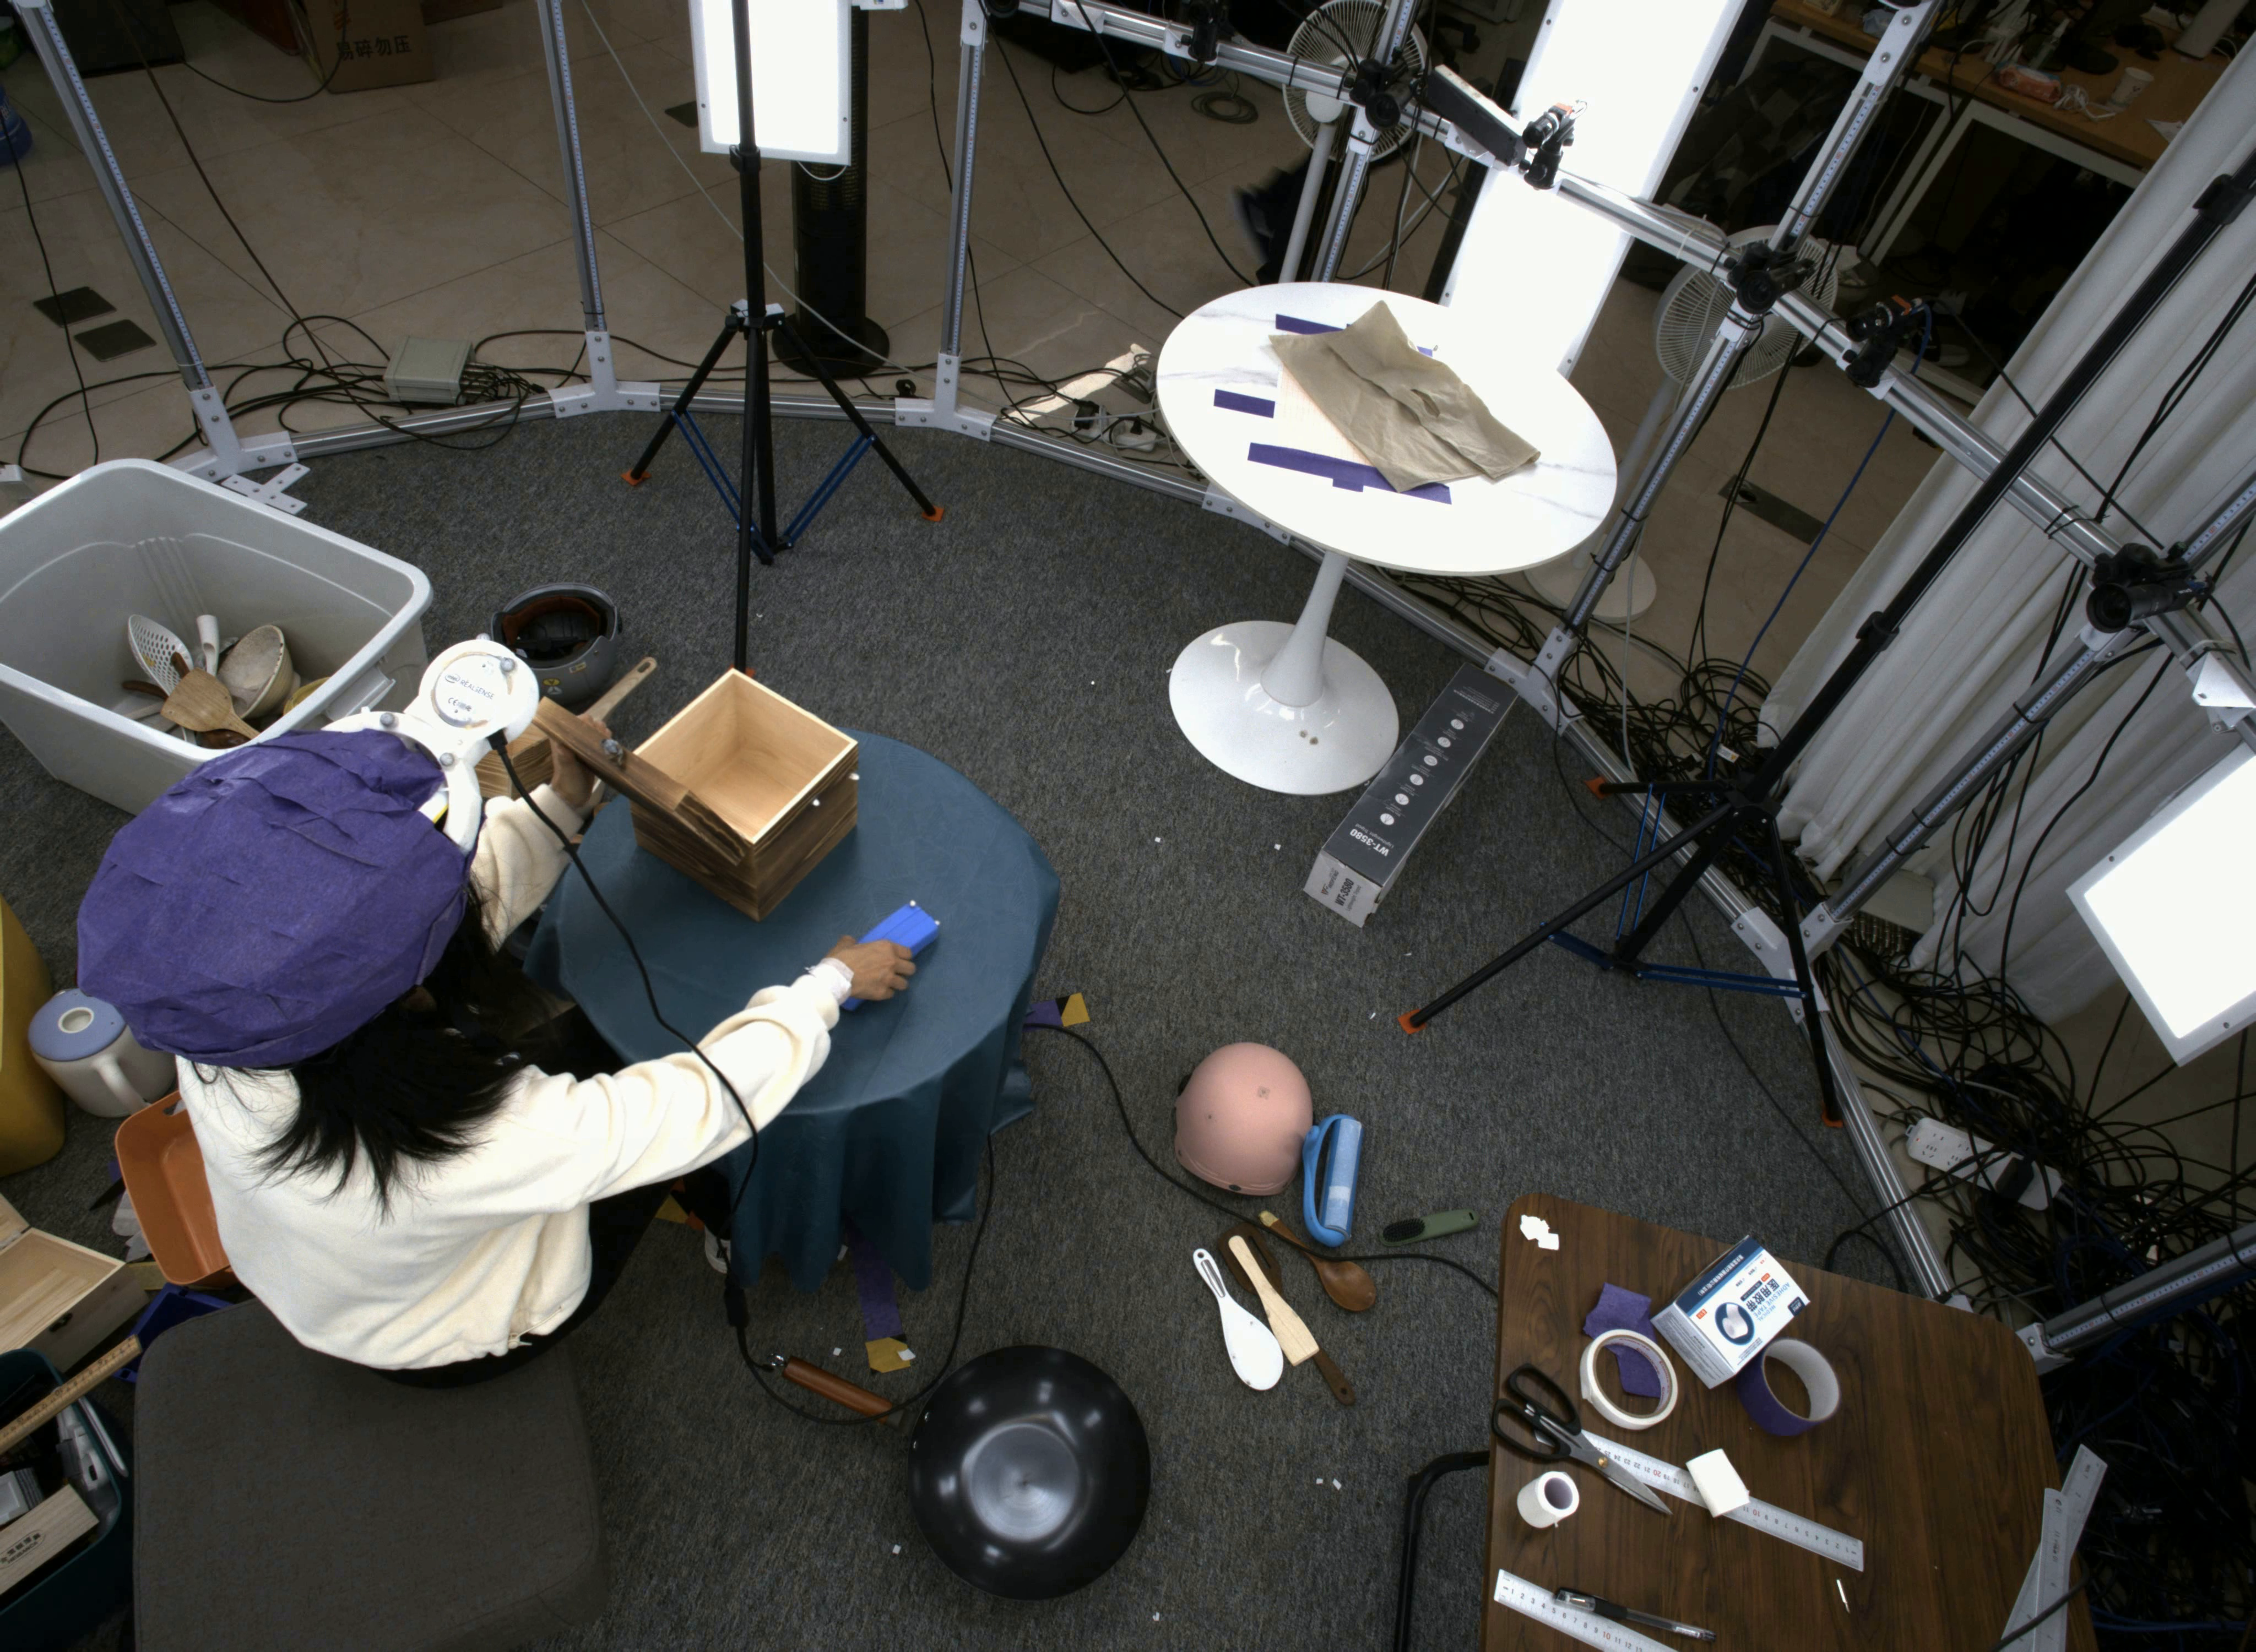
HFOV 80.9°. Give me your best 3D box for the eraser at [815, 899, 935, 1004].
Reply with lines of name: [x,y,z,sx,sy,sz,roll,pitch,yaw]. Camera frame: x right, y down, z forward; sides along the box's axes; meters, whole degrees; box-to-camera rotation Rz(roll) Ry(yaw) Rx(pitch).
eraser: [-0.308,0.148,1.597,0.053,0.048,0.162,45,52,7]

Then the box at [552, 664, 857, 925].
box: [-0.493,-0.067,1.520,0.205,0.383,0.321,29,54,10]
